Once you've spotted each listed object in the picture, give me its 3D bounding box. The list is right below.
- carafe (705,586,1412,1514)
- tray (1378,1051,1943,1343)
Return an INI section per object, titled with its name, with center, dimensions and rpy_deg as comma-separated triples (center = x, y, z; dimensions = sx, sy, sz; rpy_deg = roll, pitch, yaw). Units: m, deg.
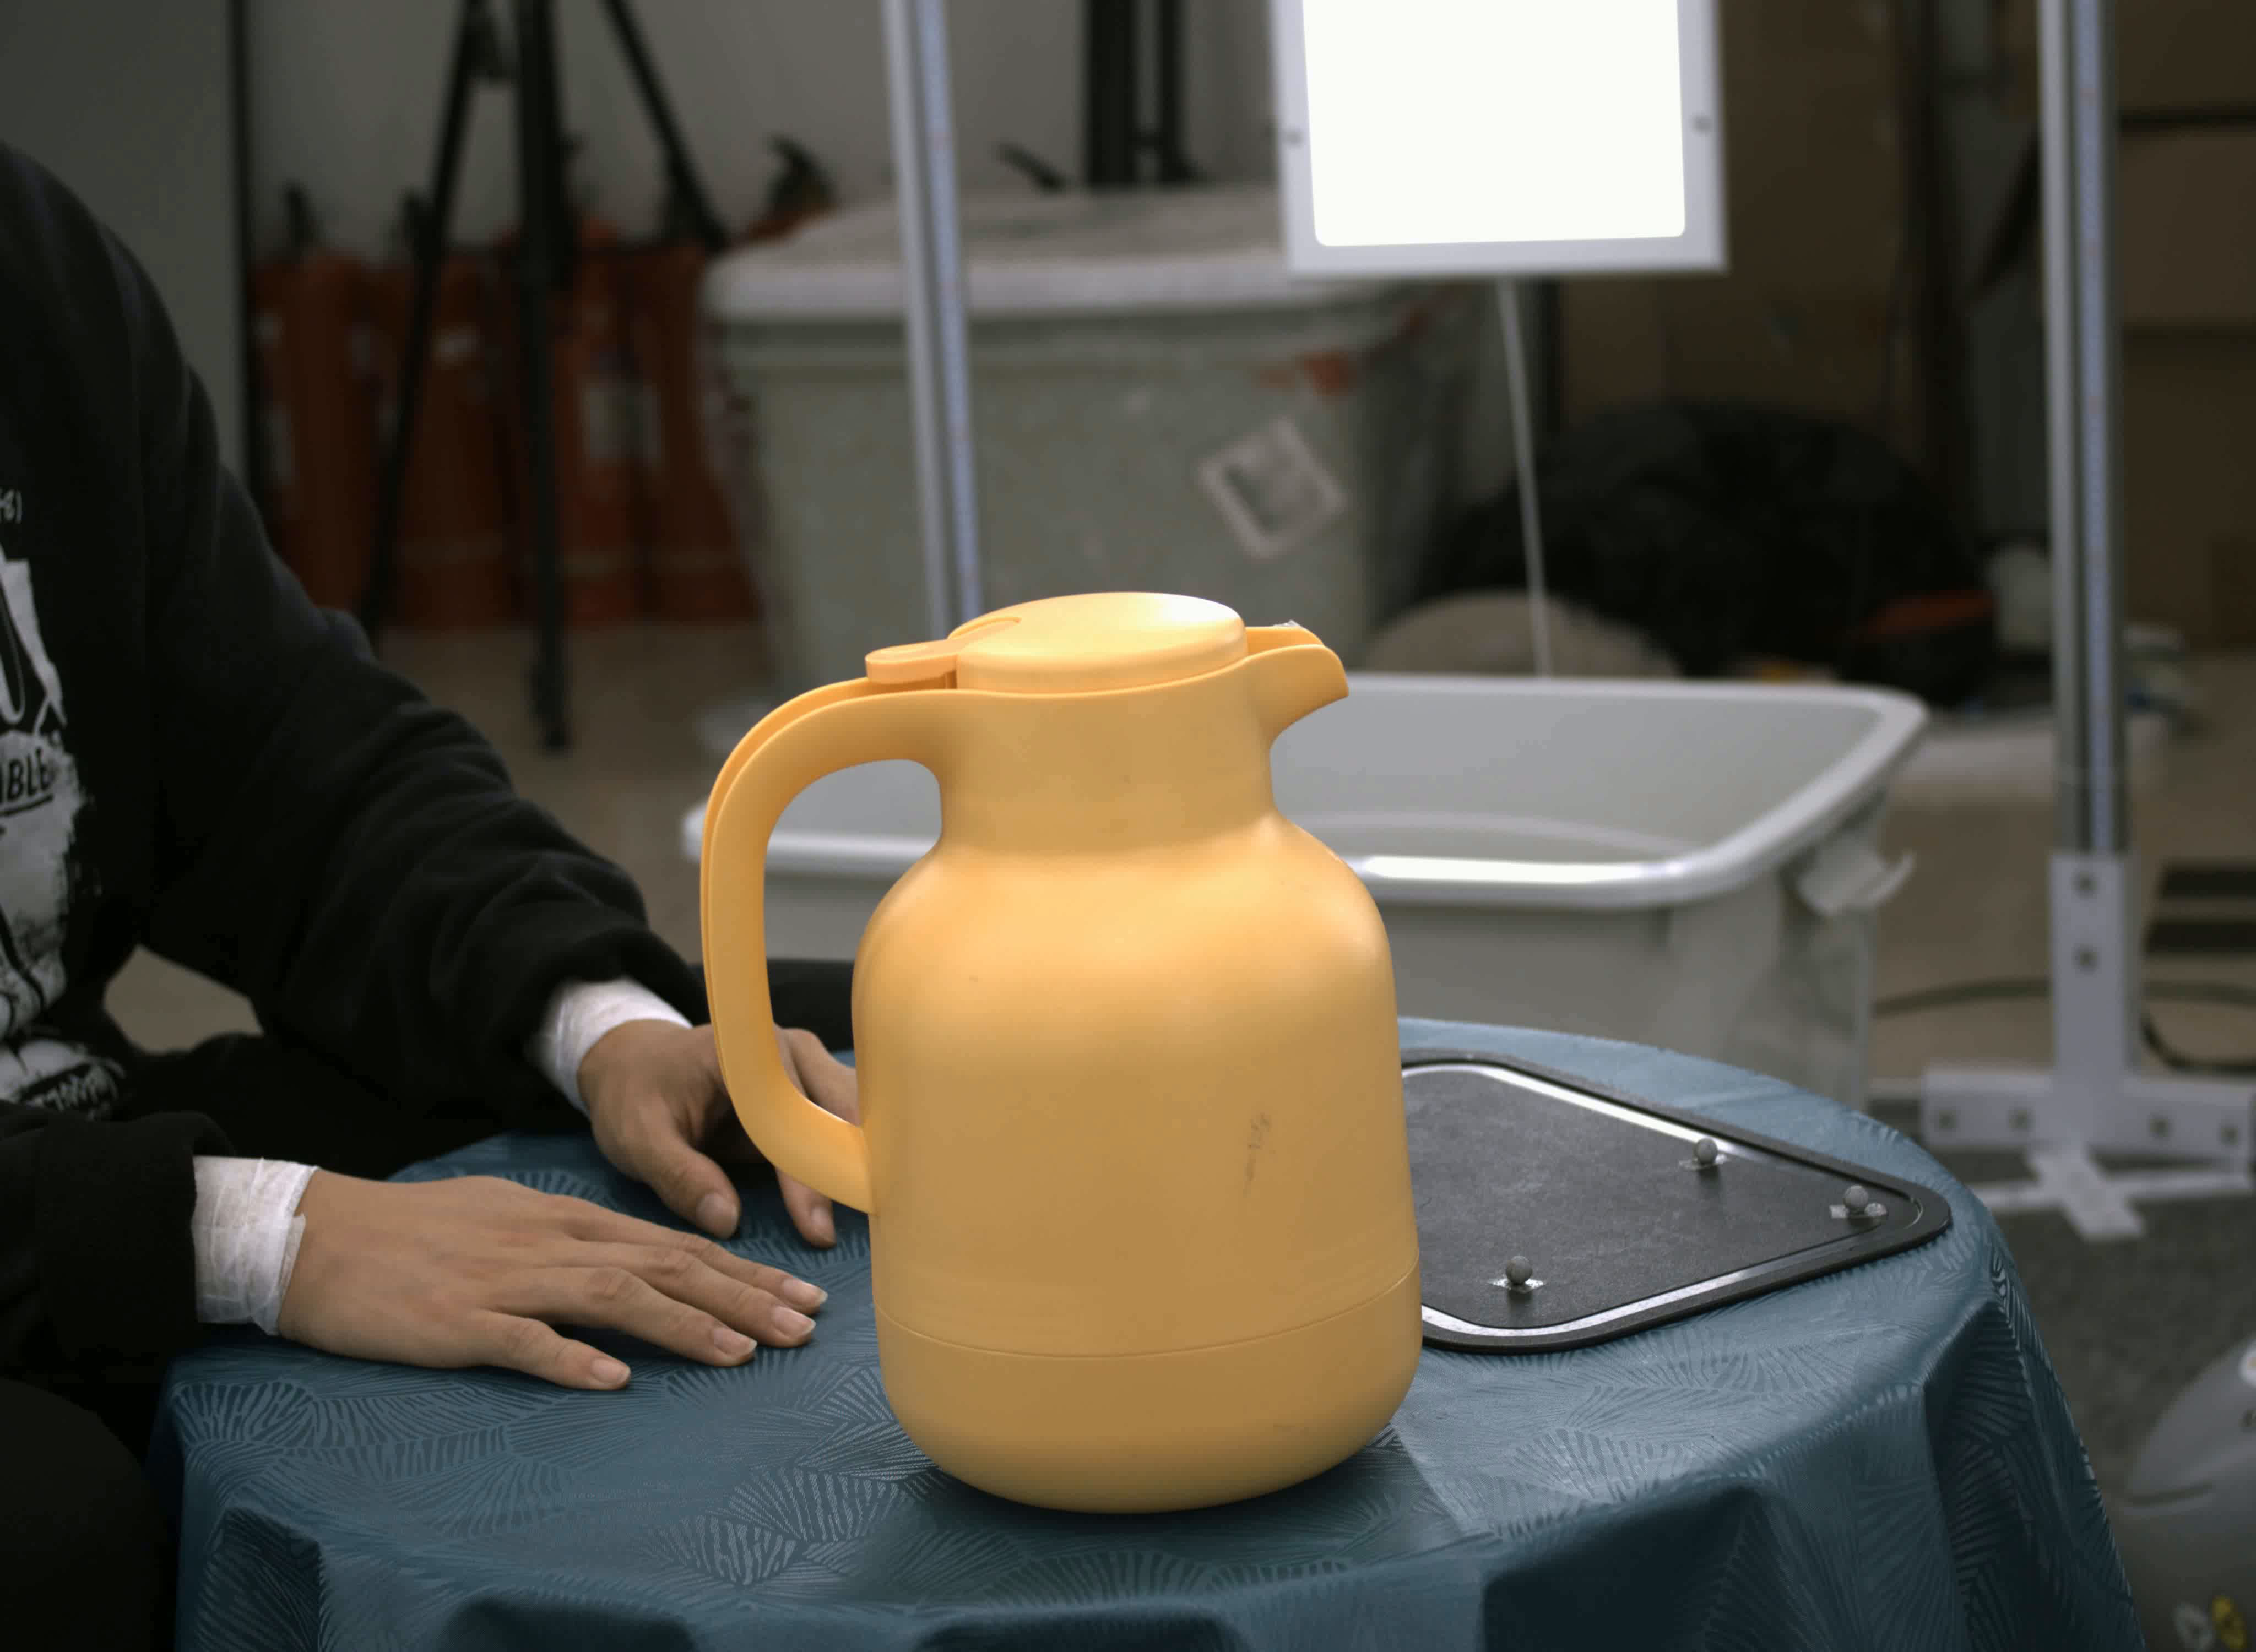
[carafe]
center = -0.021, 0.063, 1.618
dimensions = 0.201, 0.261, 0.164
rpy_deg = -5, 12, -5
[tray]
center = 0.111, 0.120, 1.871
dimensions = 0.206, 0.010, 0.331
rpy_deg = -13, 16, -30
